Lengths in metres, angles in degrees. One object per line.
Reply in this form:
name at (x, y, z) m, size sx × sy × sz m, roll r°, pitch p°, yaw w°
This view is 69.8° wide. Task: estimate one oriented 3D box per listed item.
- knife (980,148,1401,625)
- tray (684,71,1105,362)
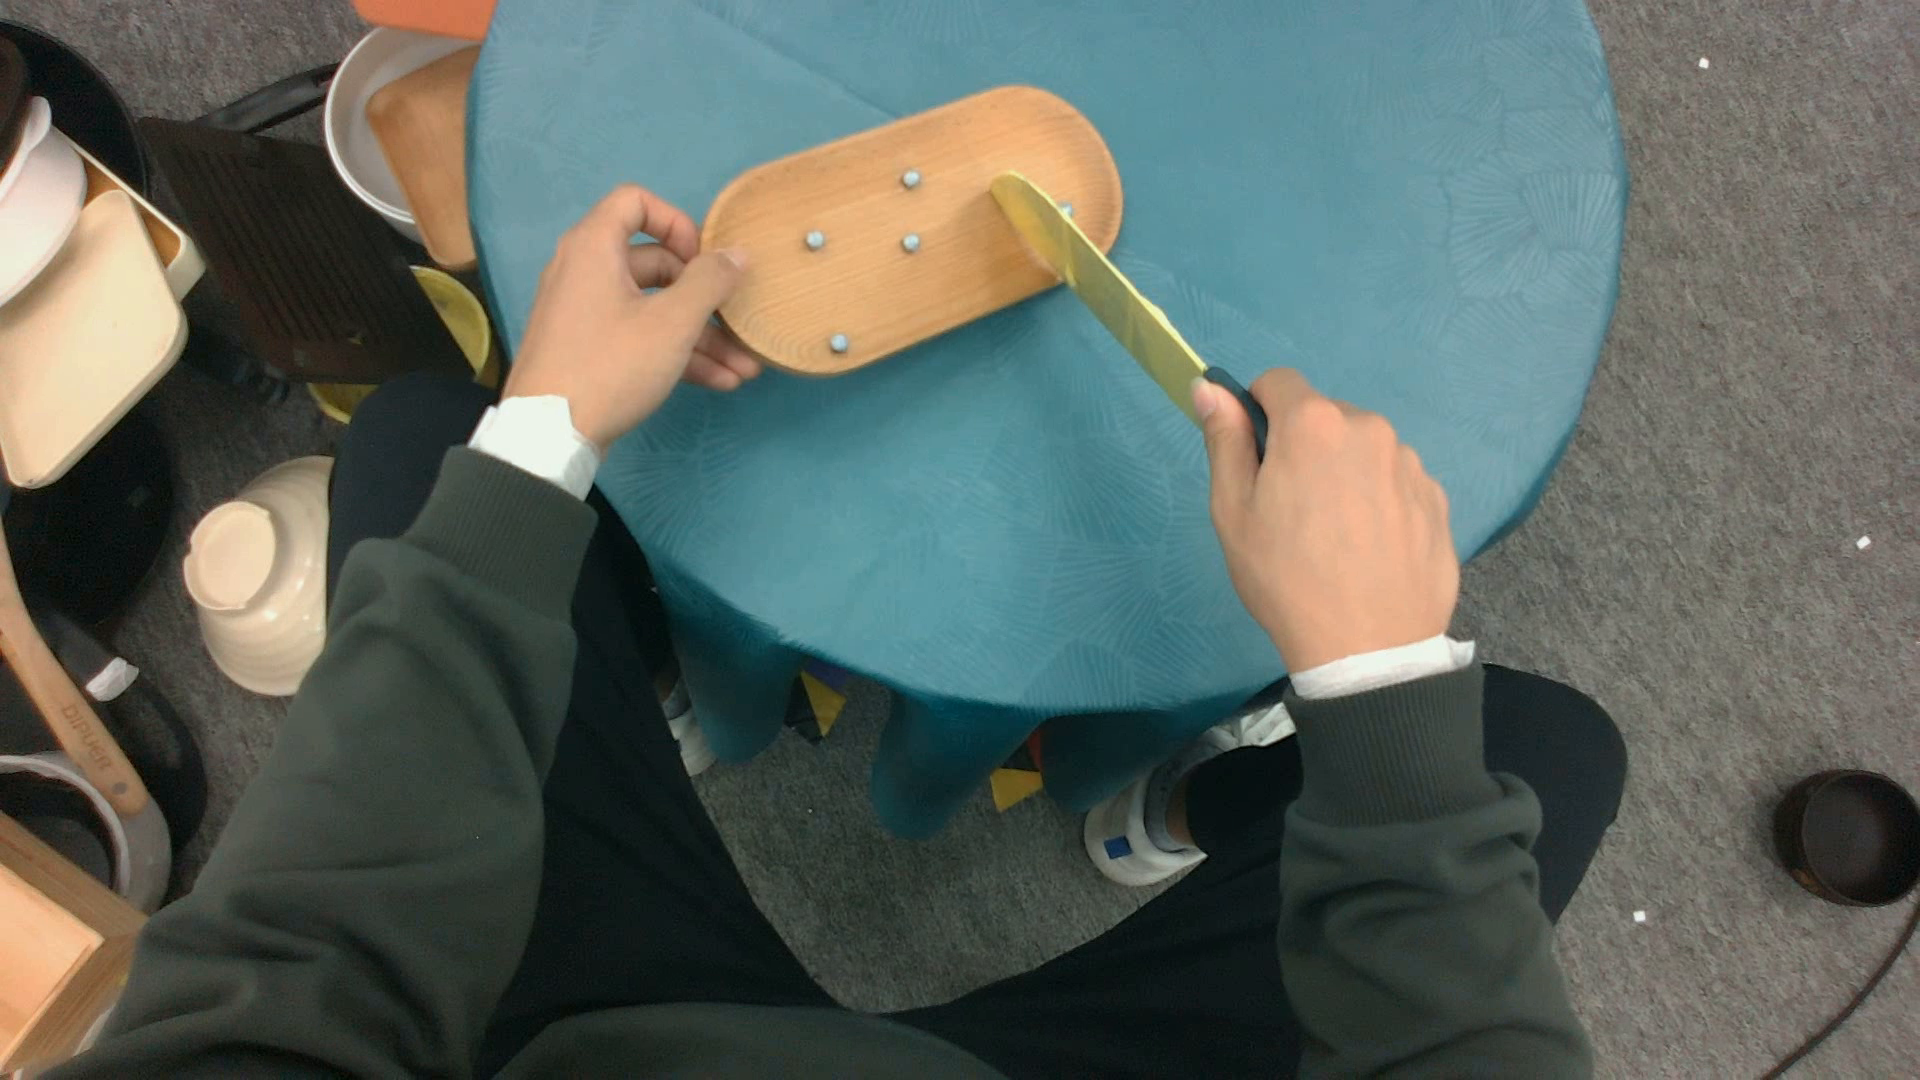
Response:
knife at (0.092, -0.075, 0.612) m, size 0.027 × 0.081 × 0.290 m, roll -37°, pitch 71°, yaw -2°
tray at (-0.025, -0.157, 0.657) m, size 0.232 × 0.020 × 0.101 m, roll -28°, pitch 93°, yaw -29°
